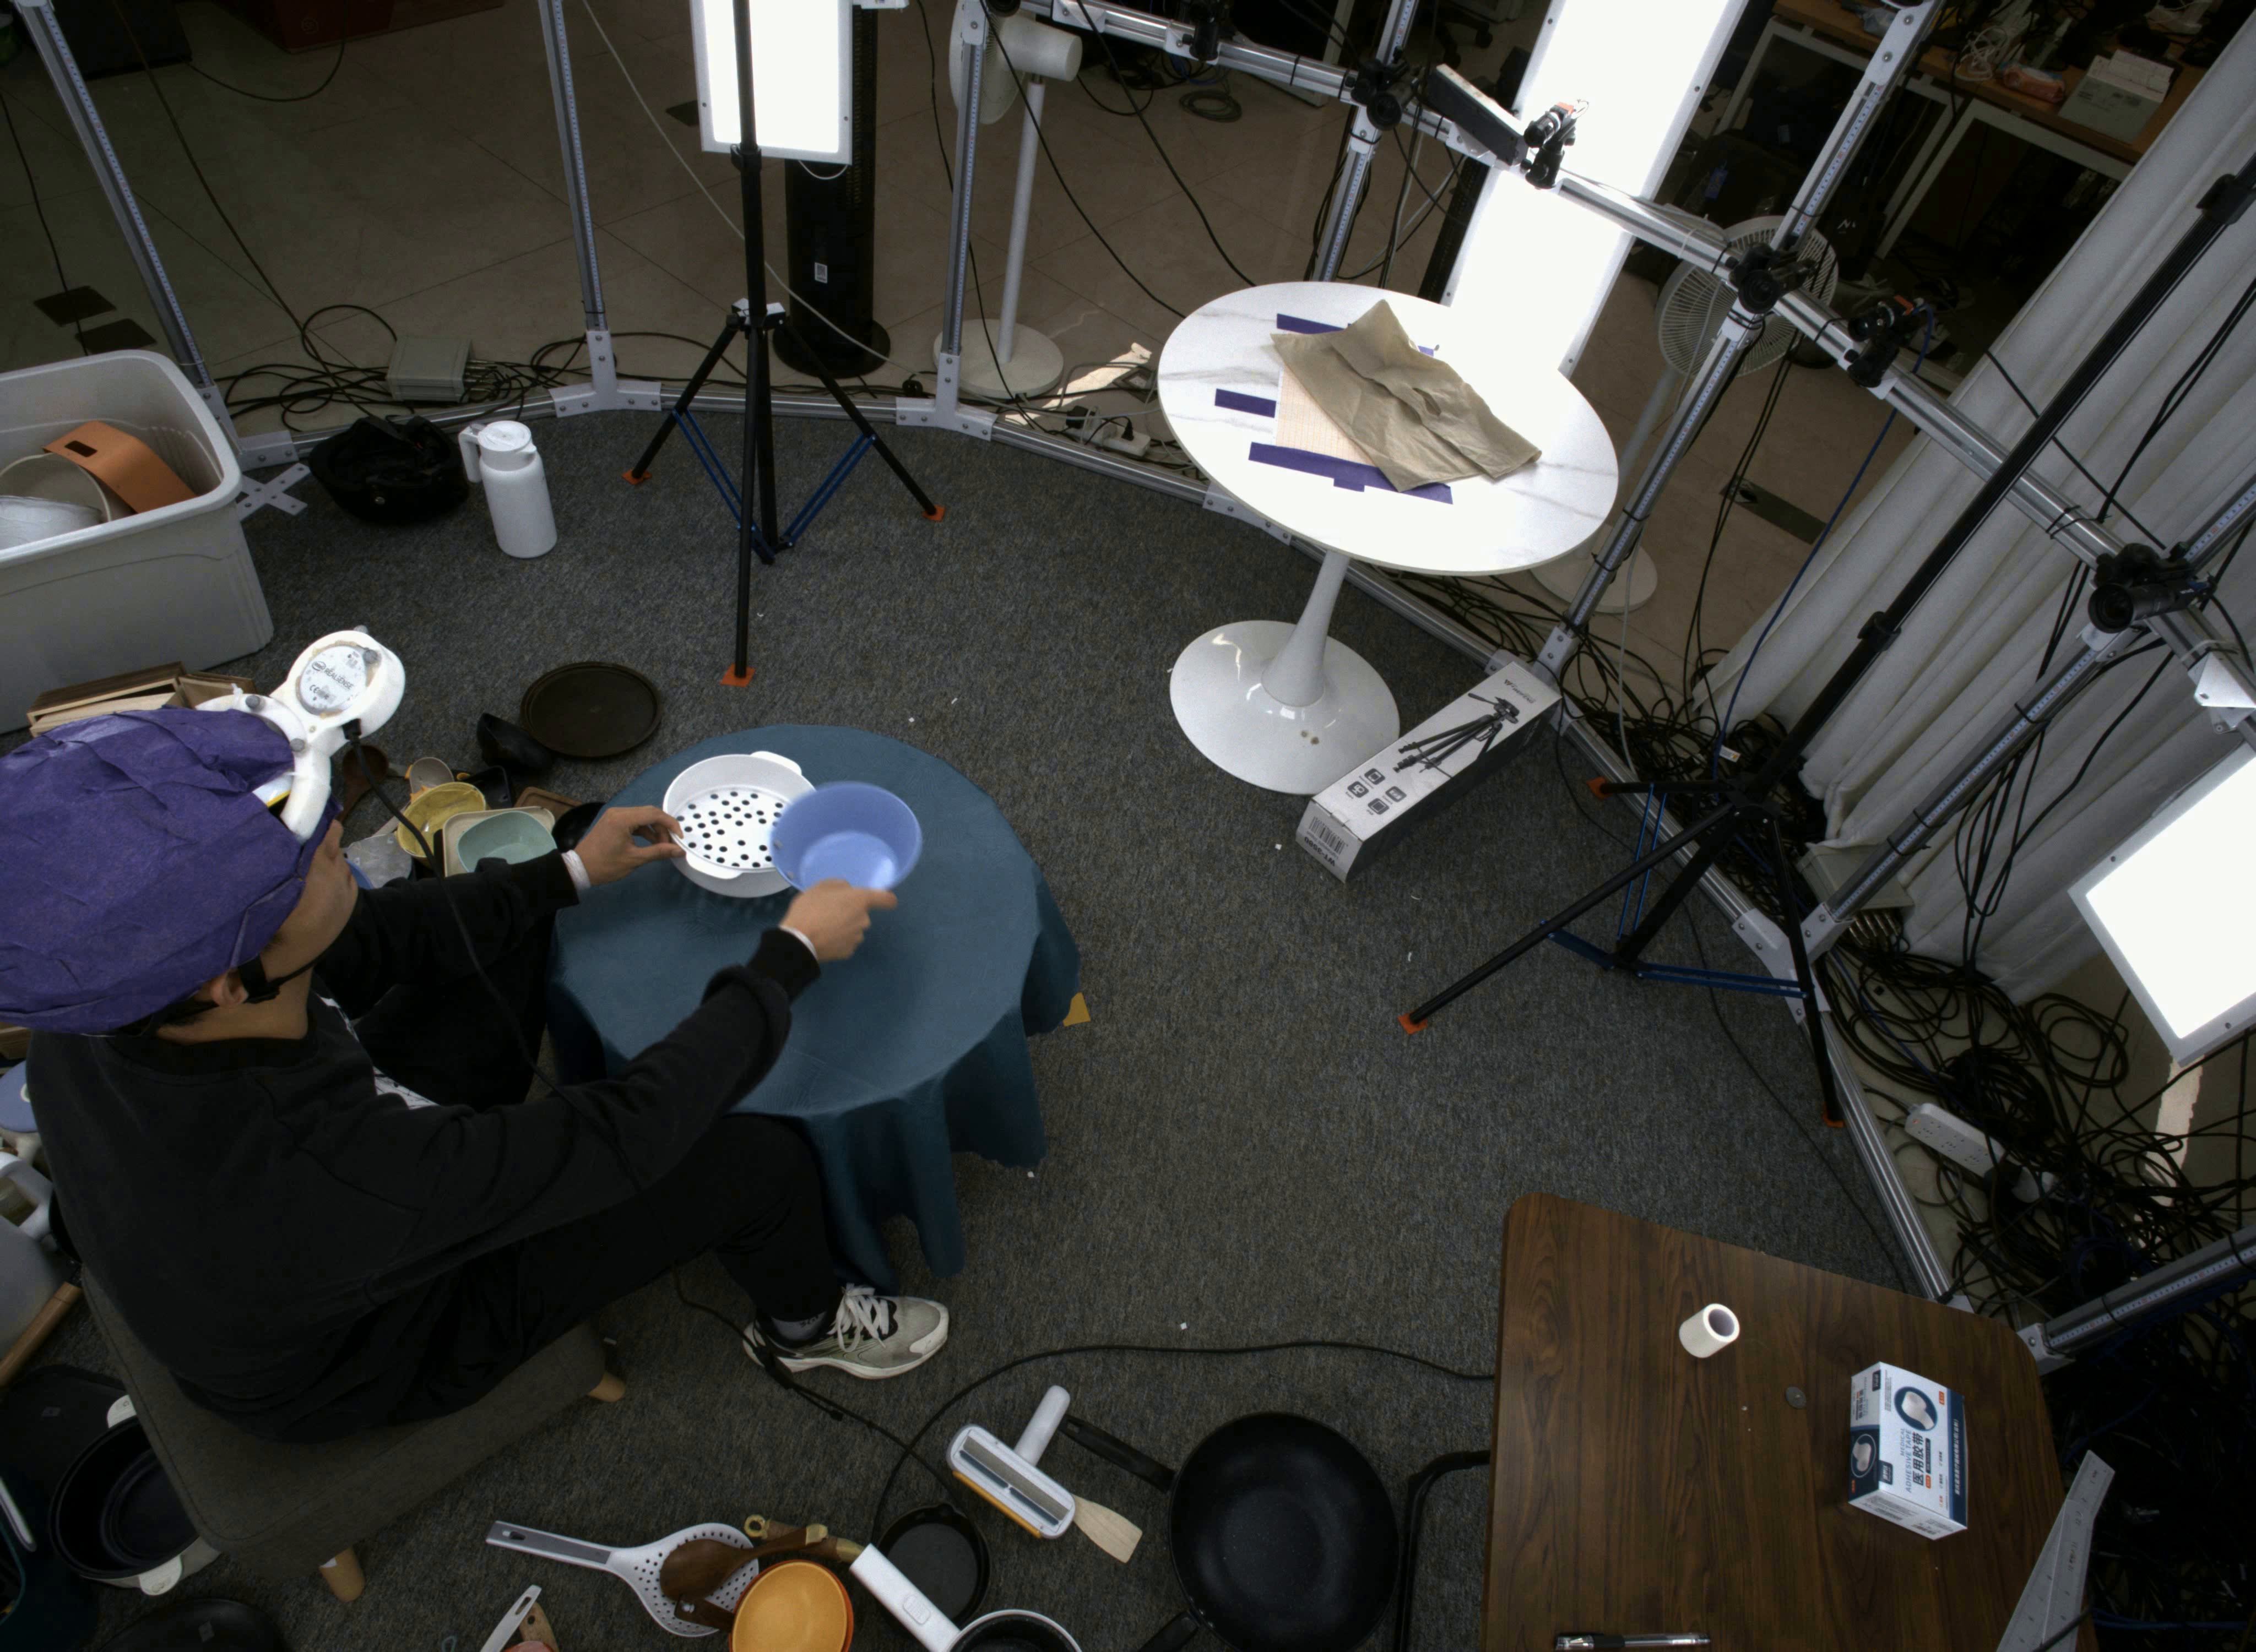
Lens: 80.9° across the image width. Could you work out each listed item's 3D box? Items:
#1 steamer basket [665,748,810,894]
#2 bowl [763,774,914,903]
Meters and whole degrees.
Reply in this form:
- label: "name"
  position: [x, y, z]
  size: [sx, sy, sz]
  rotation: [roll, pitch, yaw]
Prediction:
- label: "steamer basket"
  position: [-0.489, -0.004, 1.650]
  size: [0.202, 0.070, 0.227]
  rotation: [21, 42, -7]
- label: "bowl"
  position: [-0.342, 0.024, 1.550]
  size: [0.175, 0.072, 0.173]
  rotation: [4, 51, -4]
